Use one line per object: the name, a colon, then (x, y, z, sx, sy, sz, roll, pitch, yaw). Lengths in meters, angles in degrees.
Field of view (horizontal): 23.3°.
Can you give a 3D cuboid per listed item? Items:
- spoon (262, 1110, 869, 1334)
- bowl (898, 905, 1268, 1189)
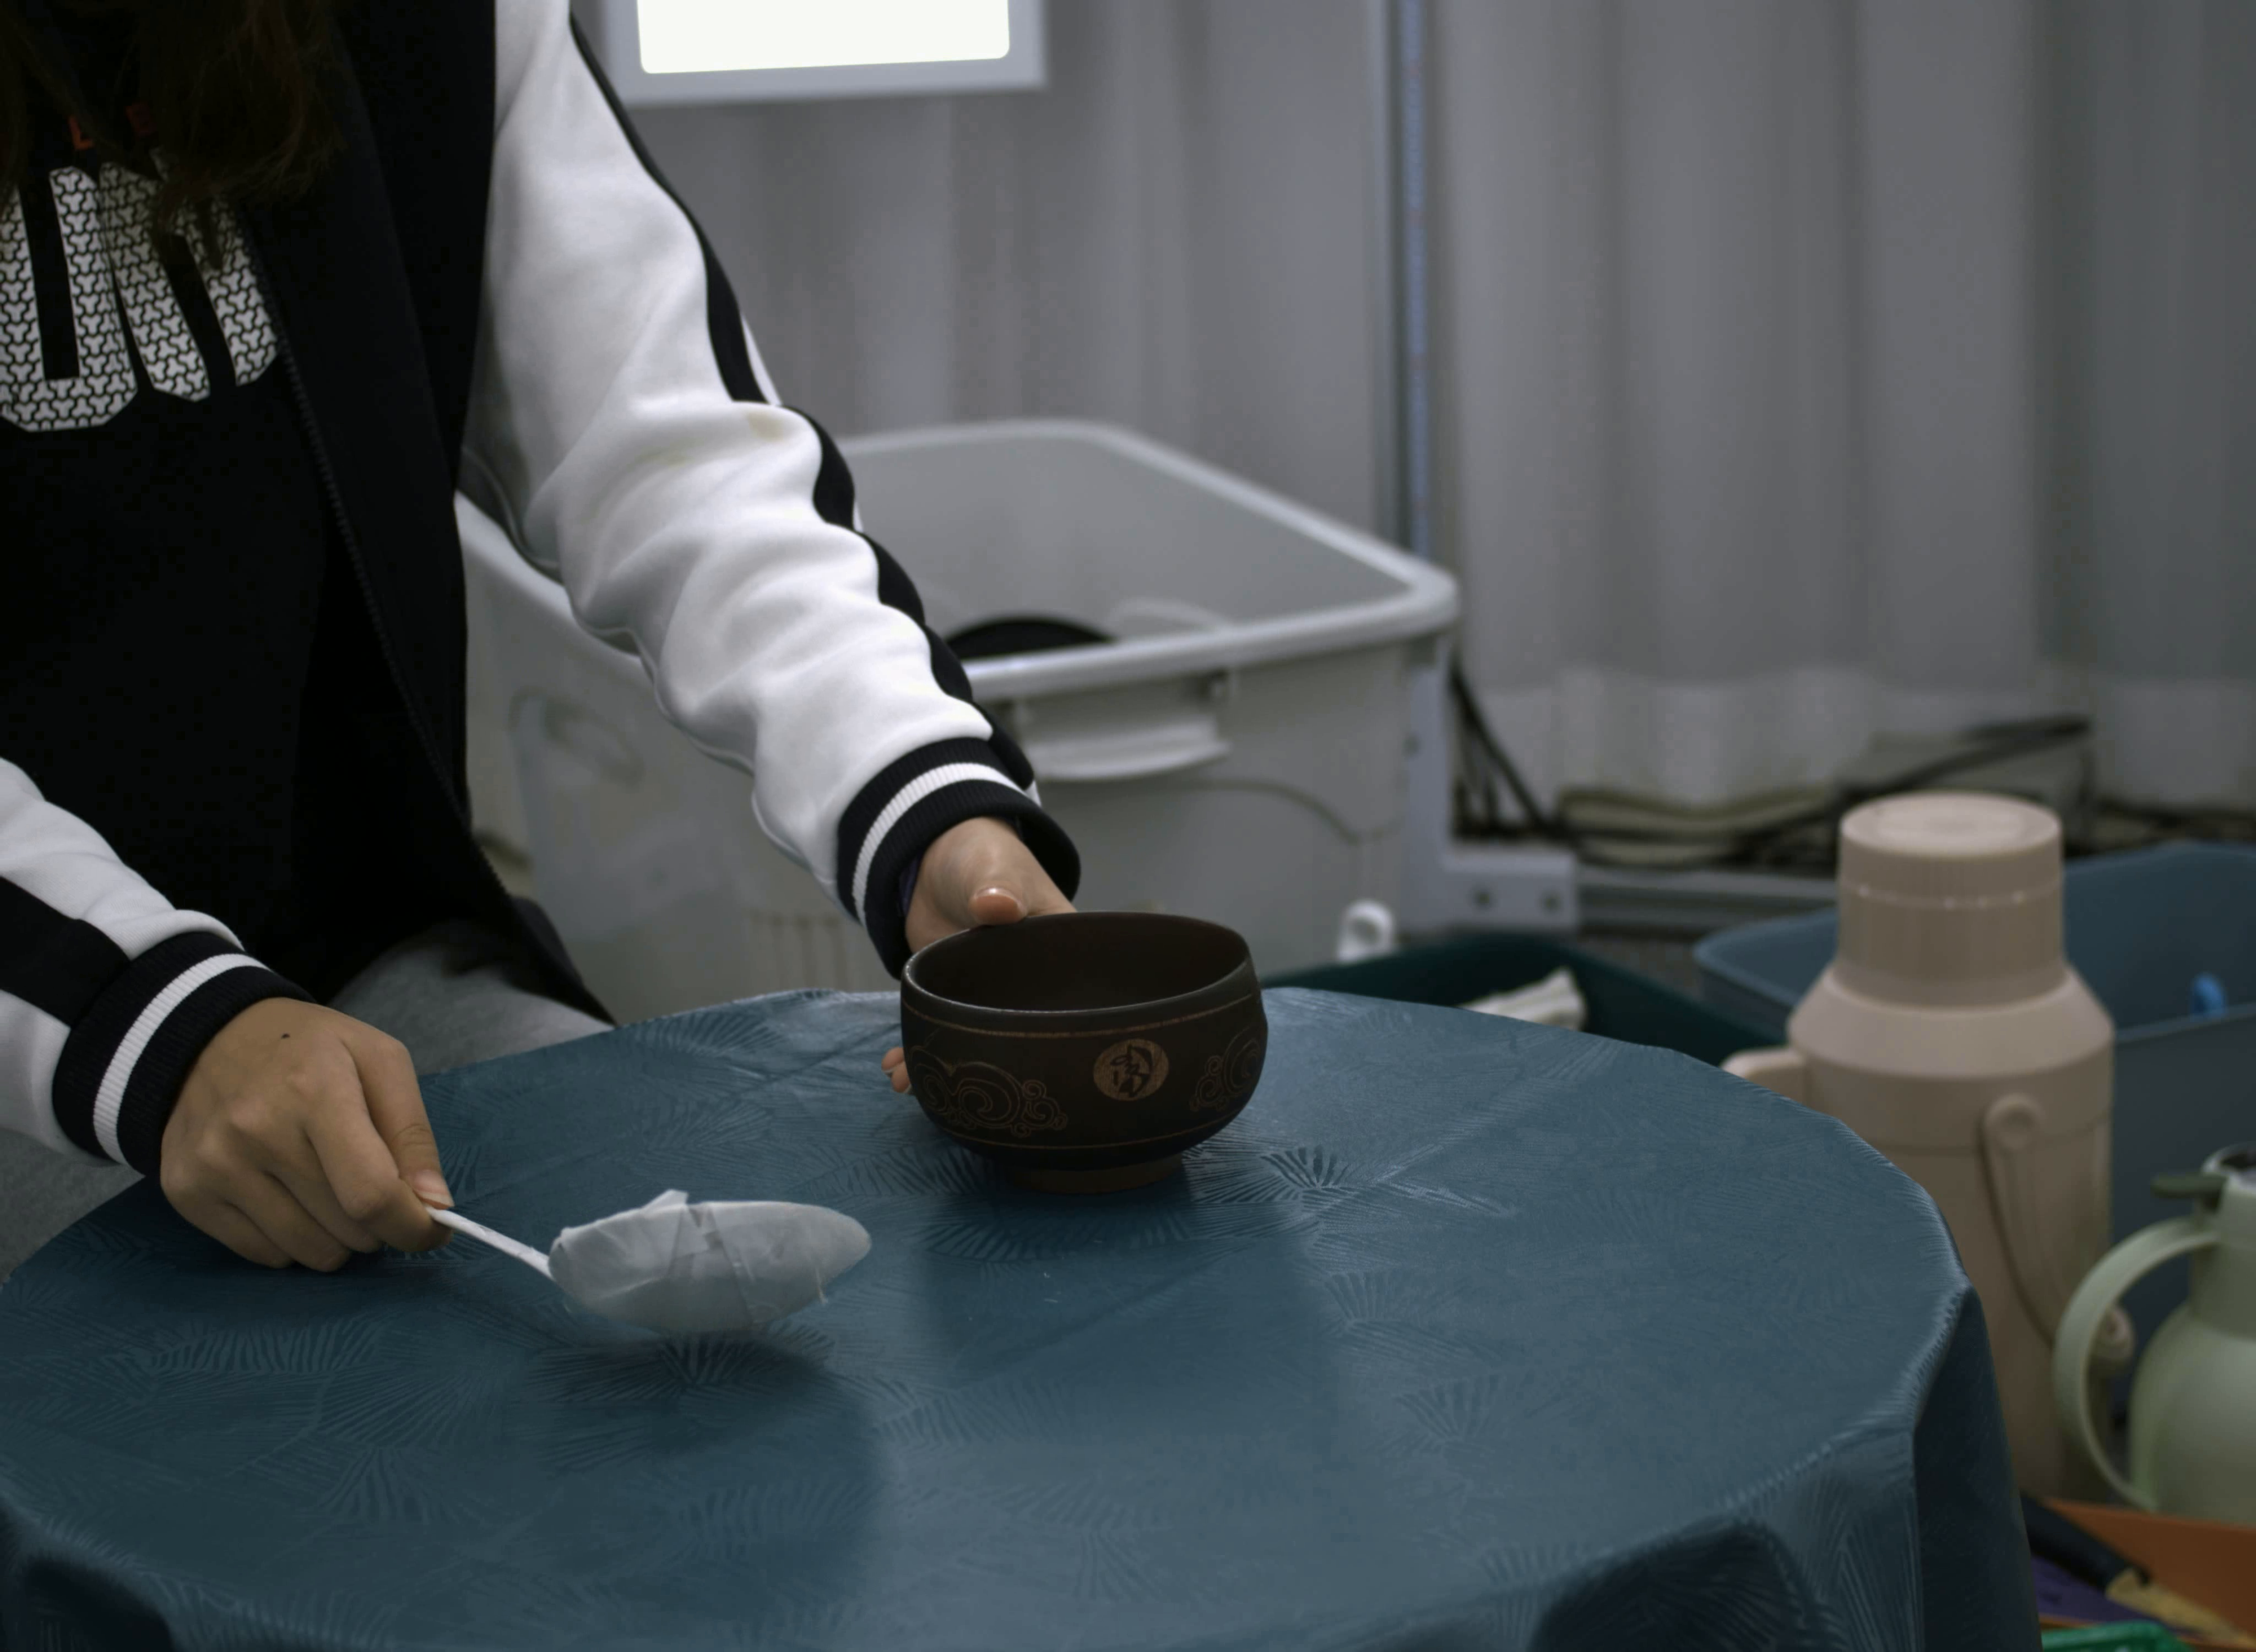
spoon: (-0.178, 0.101, 1.648, 0.099, 0.059, 0.279, 22, -1, -39)
bowl: (-0.014, 0.074, 1.731, 0.117, 0.069, 0.119, -3, 14, 0)
